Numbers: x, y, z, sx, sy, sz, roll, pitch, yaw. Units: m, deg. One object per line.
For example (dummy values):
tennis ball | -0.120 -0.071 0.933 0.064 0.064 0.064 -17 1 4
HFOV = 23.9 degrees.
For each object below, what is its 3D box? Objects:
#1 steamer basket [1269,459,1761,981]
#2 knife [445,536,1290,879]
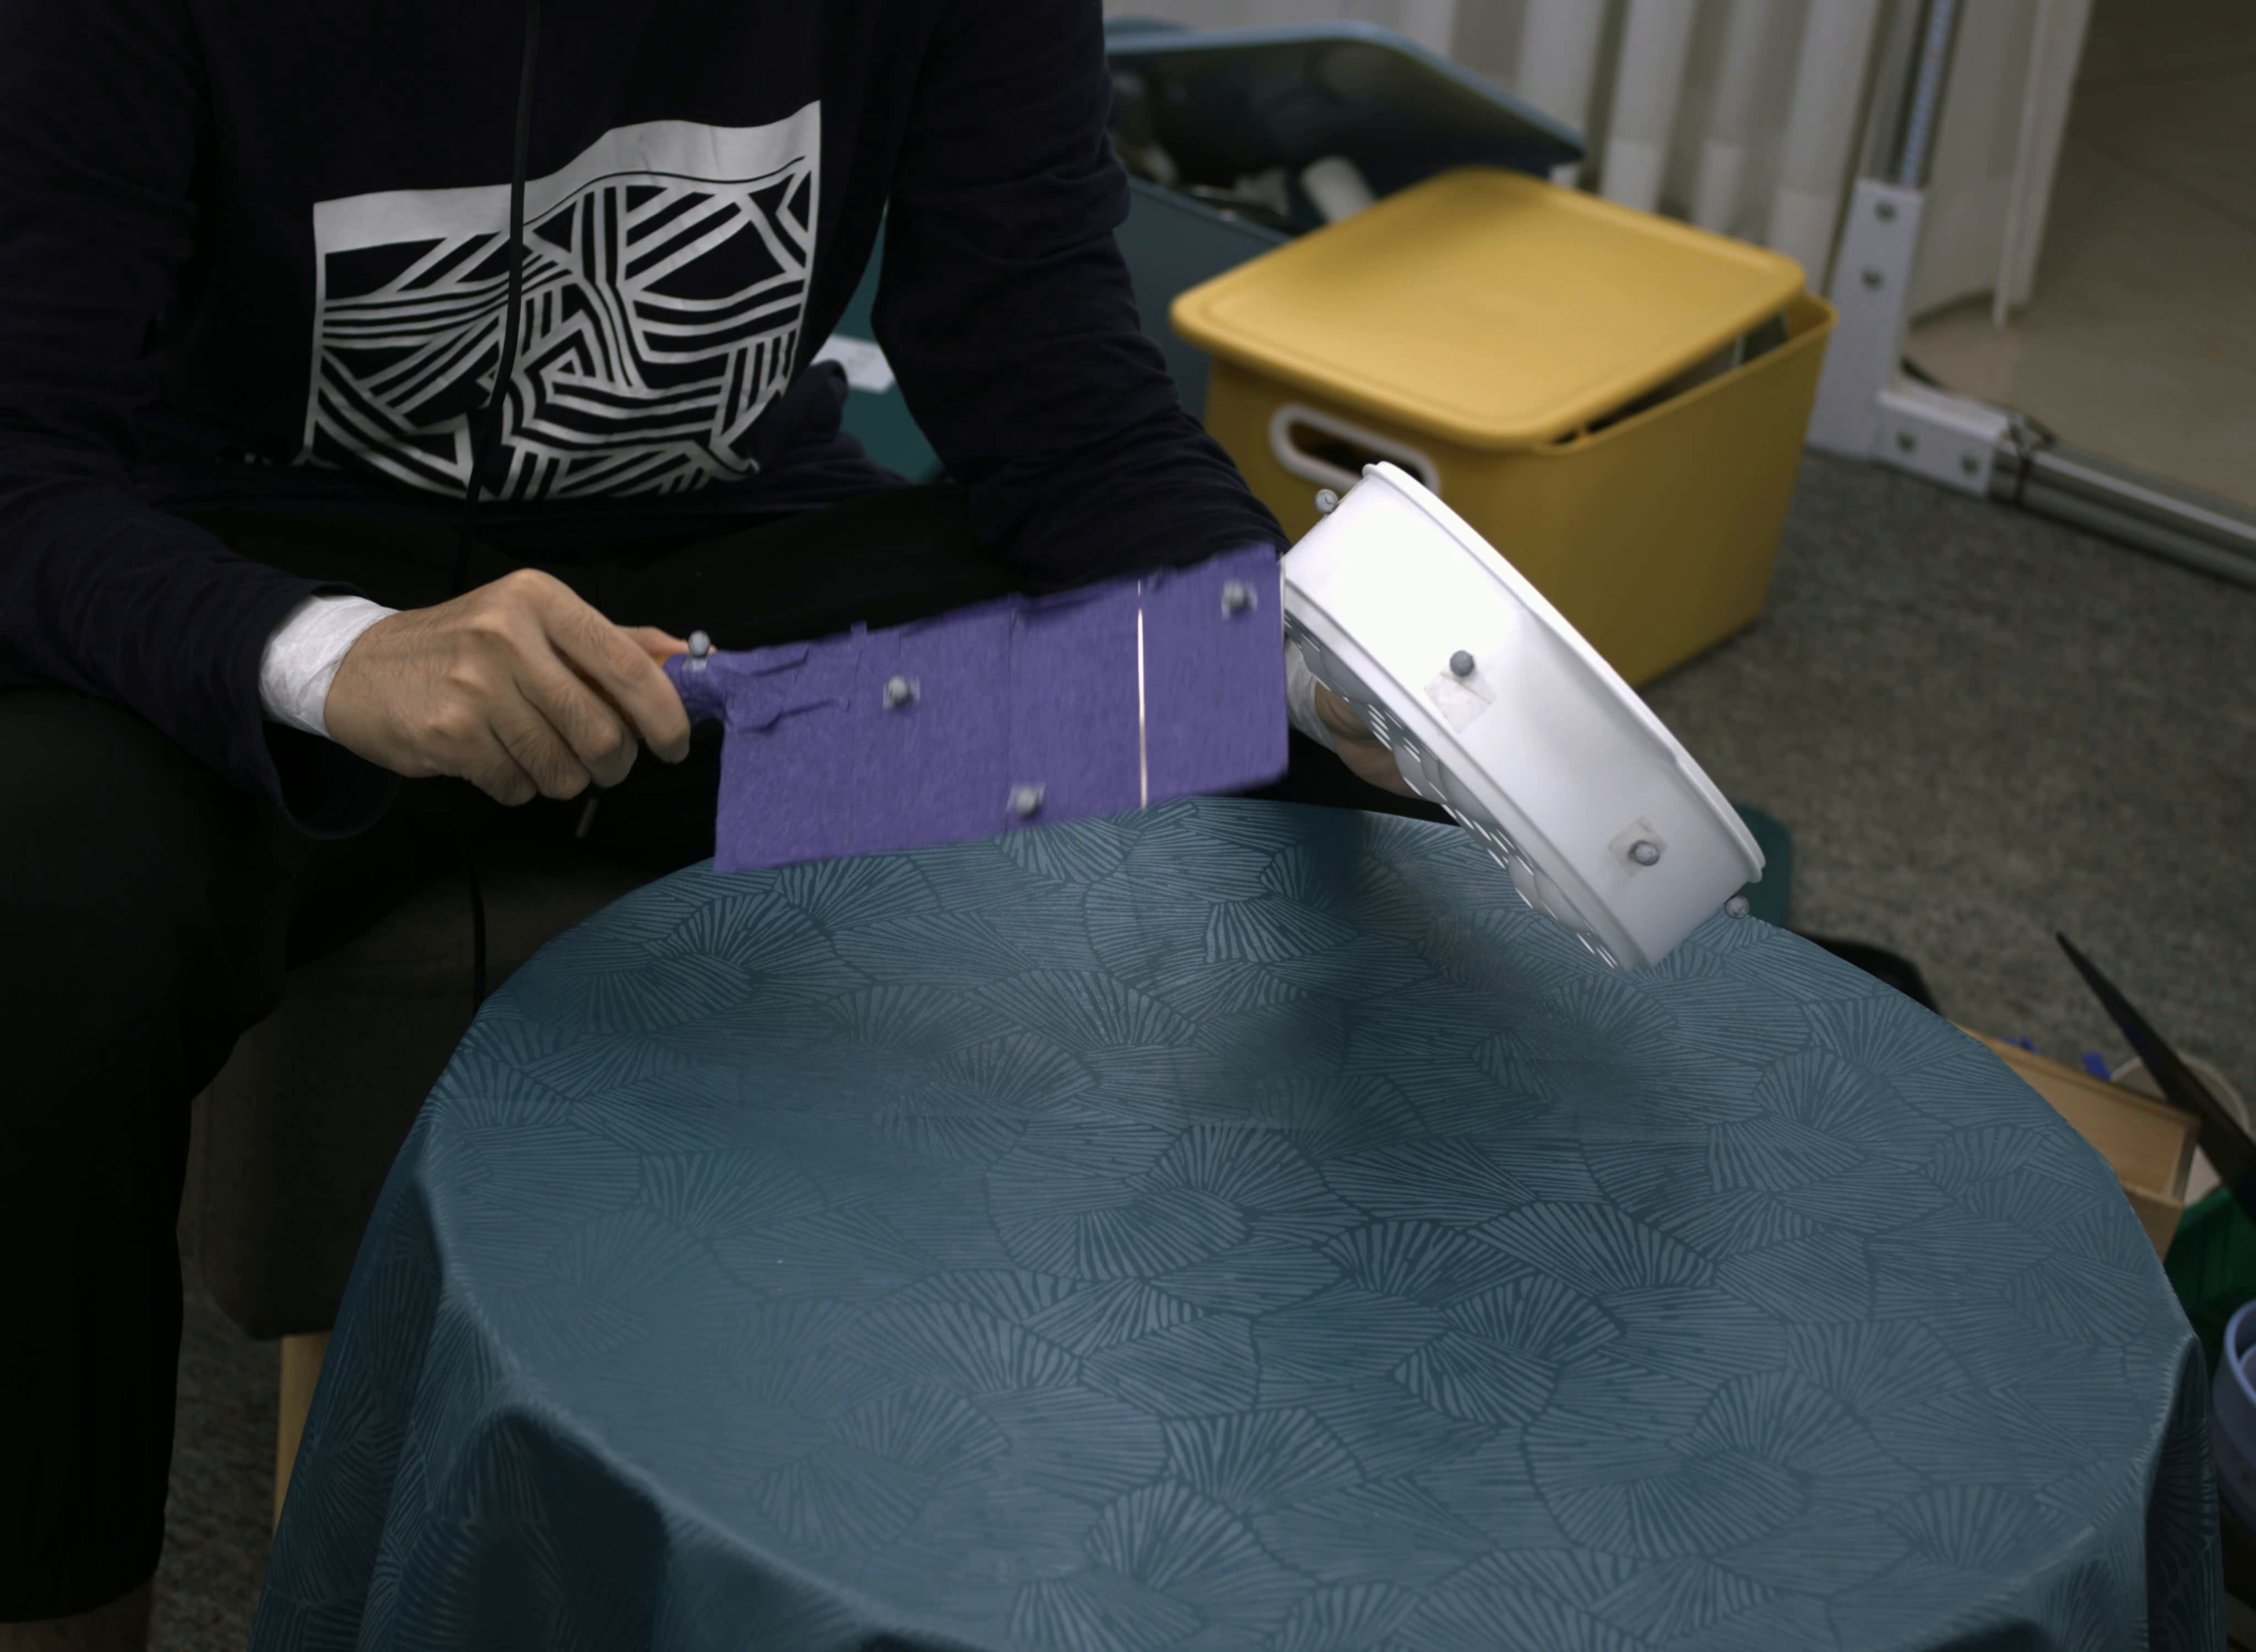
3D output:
steamer basket | 0.130 -0.034 1.862 0.201 0.069 0.231 48 -4 -4
knife | -0.094 -0.030 1.823 0.315 0.032 0.104 -11 55 20
